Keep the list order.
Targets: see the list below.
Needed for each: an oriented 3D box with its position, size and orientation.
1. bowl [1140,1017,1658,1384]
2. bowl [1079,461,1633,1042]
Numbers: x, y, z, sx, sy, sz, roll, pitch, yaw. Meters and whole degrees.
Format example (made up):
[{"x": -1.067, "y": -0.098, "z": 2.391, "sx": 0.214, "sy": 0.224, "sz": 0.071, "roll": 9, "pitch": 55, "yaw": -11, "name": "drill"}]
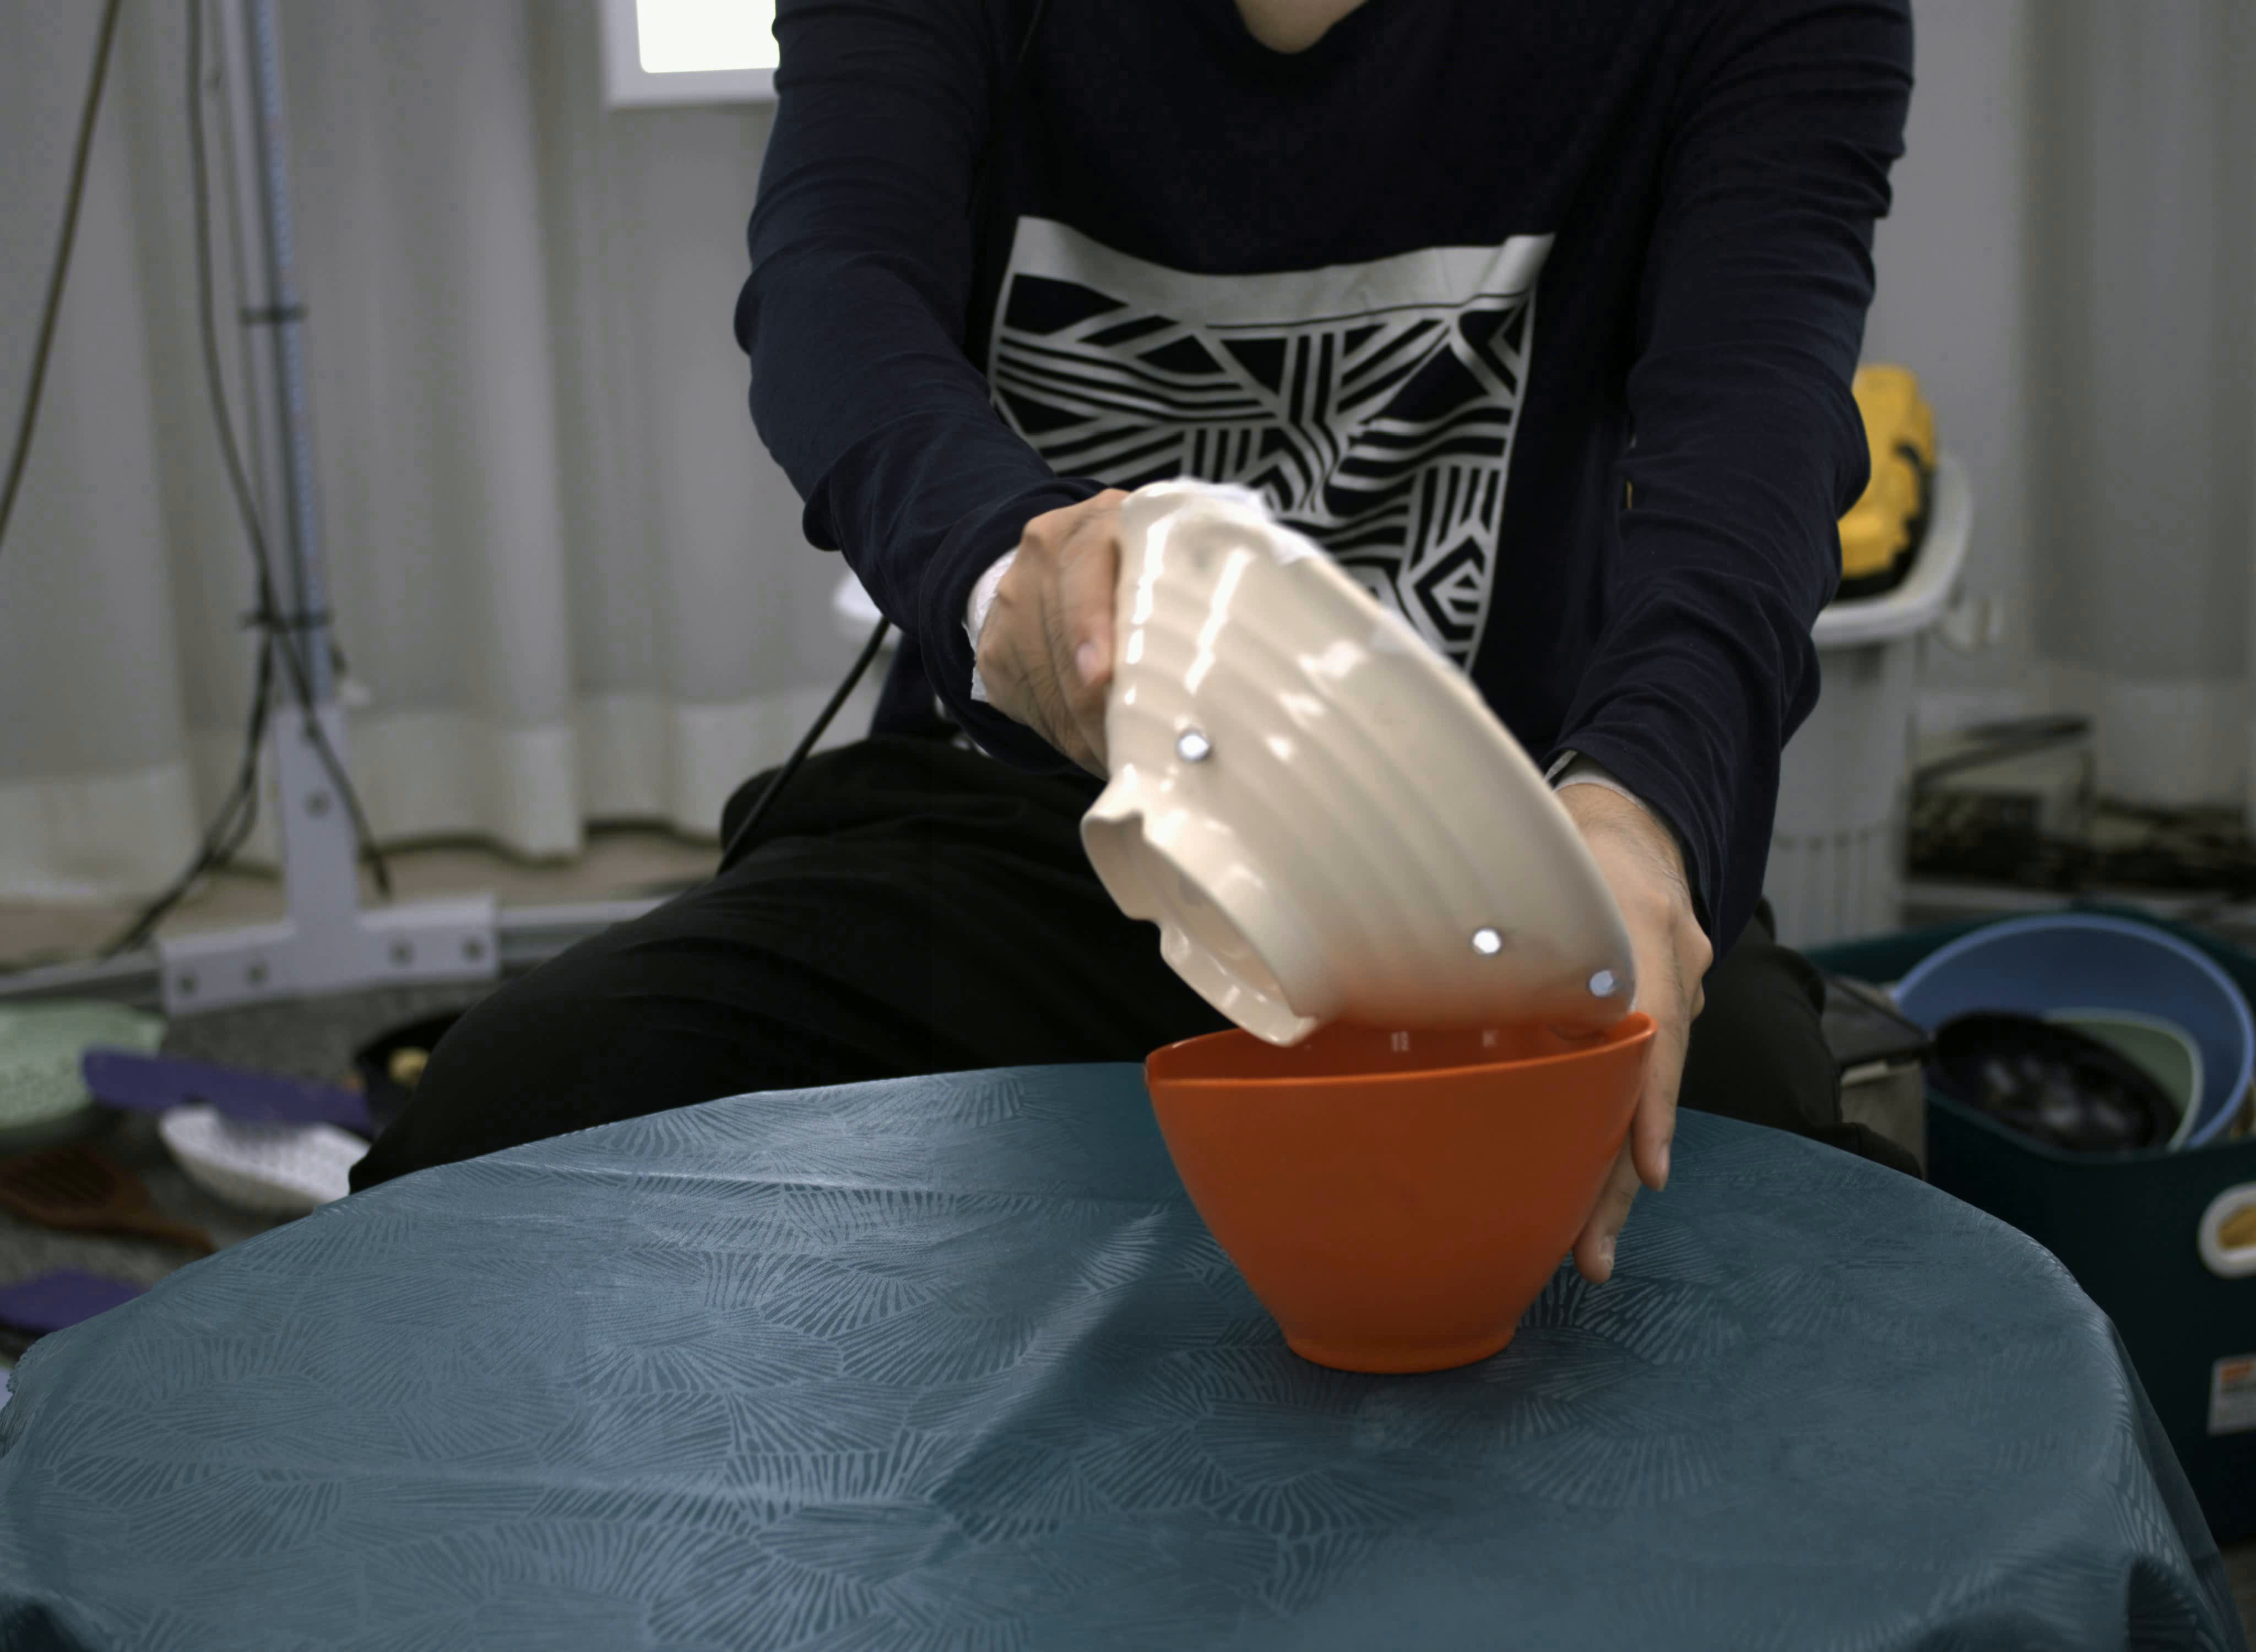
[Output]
[{"x": 0.078, "y": 0.103, "z": 1.556, "sx": 0.147, "sy": 0.104, "sz": 0.149, "roll": -3, "pitch": 12, "yaw": 0, "name": "bowl"}, {"x": 0.044, "y": 0.002, "z": 1.531, "sx": 0.078, "sy": 0.202, "sz": 0.205, "roll": -40, "pitch": 28, "yaw": -18, "name": "bowl"}]
